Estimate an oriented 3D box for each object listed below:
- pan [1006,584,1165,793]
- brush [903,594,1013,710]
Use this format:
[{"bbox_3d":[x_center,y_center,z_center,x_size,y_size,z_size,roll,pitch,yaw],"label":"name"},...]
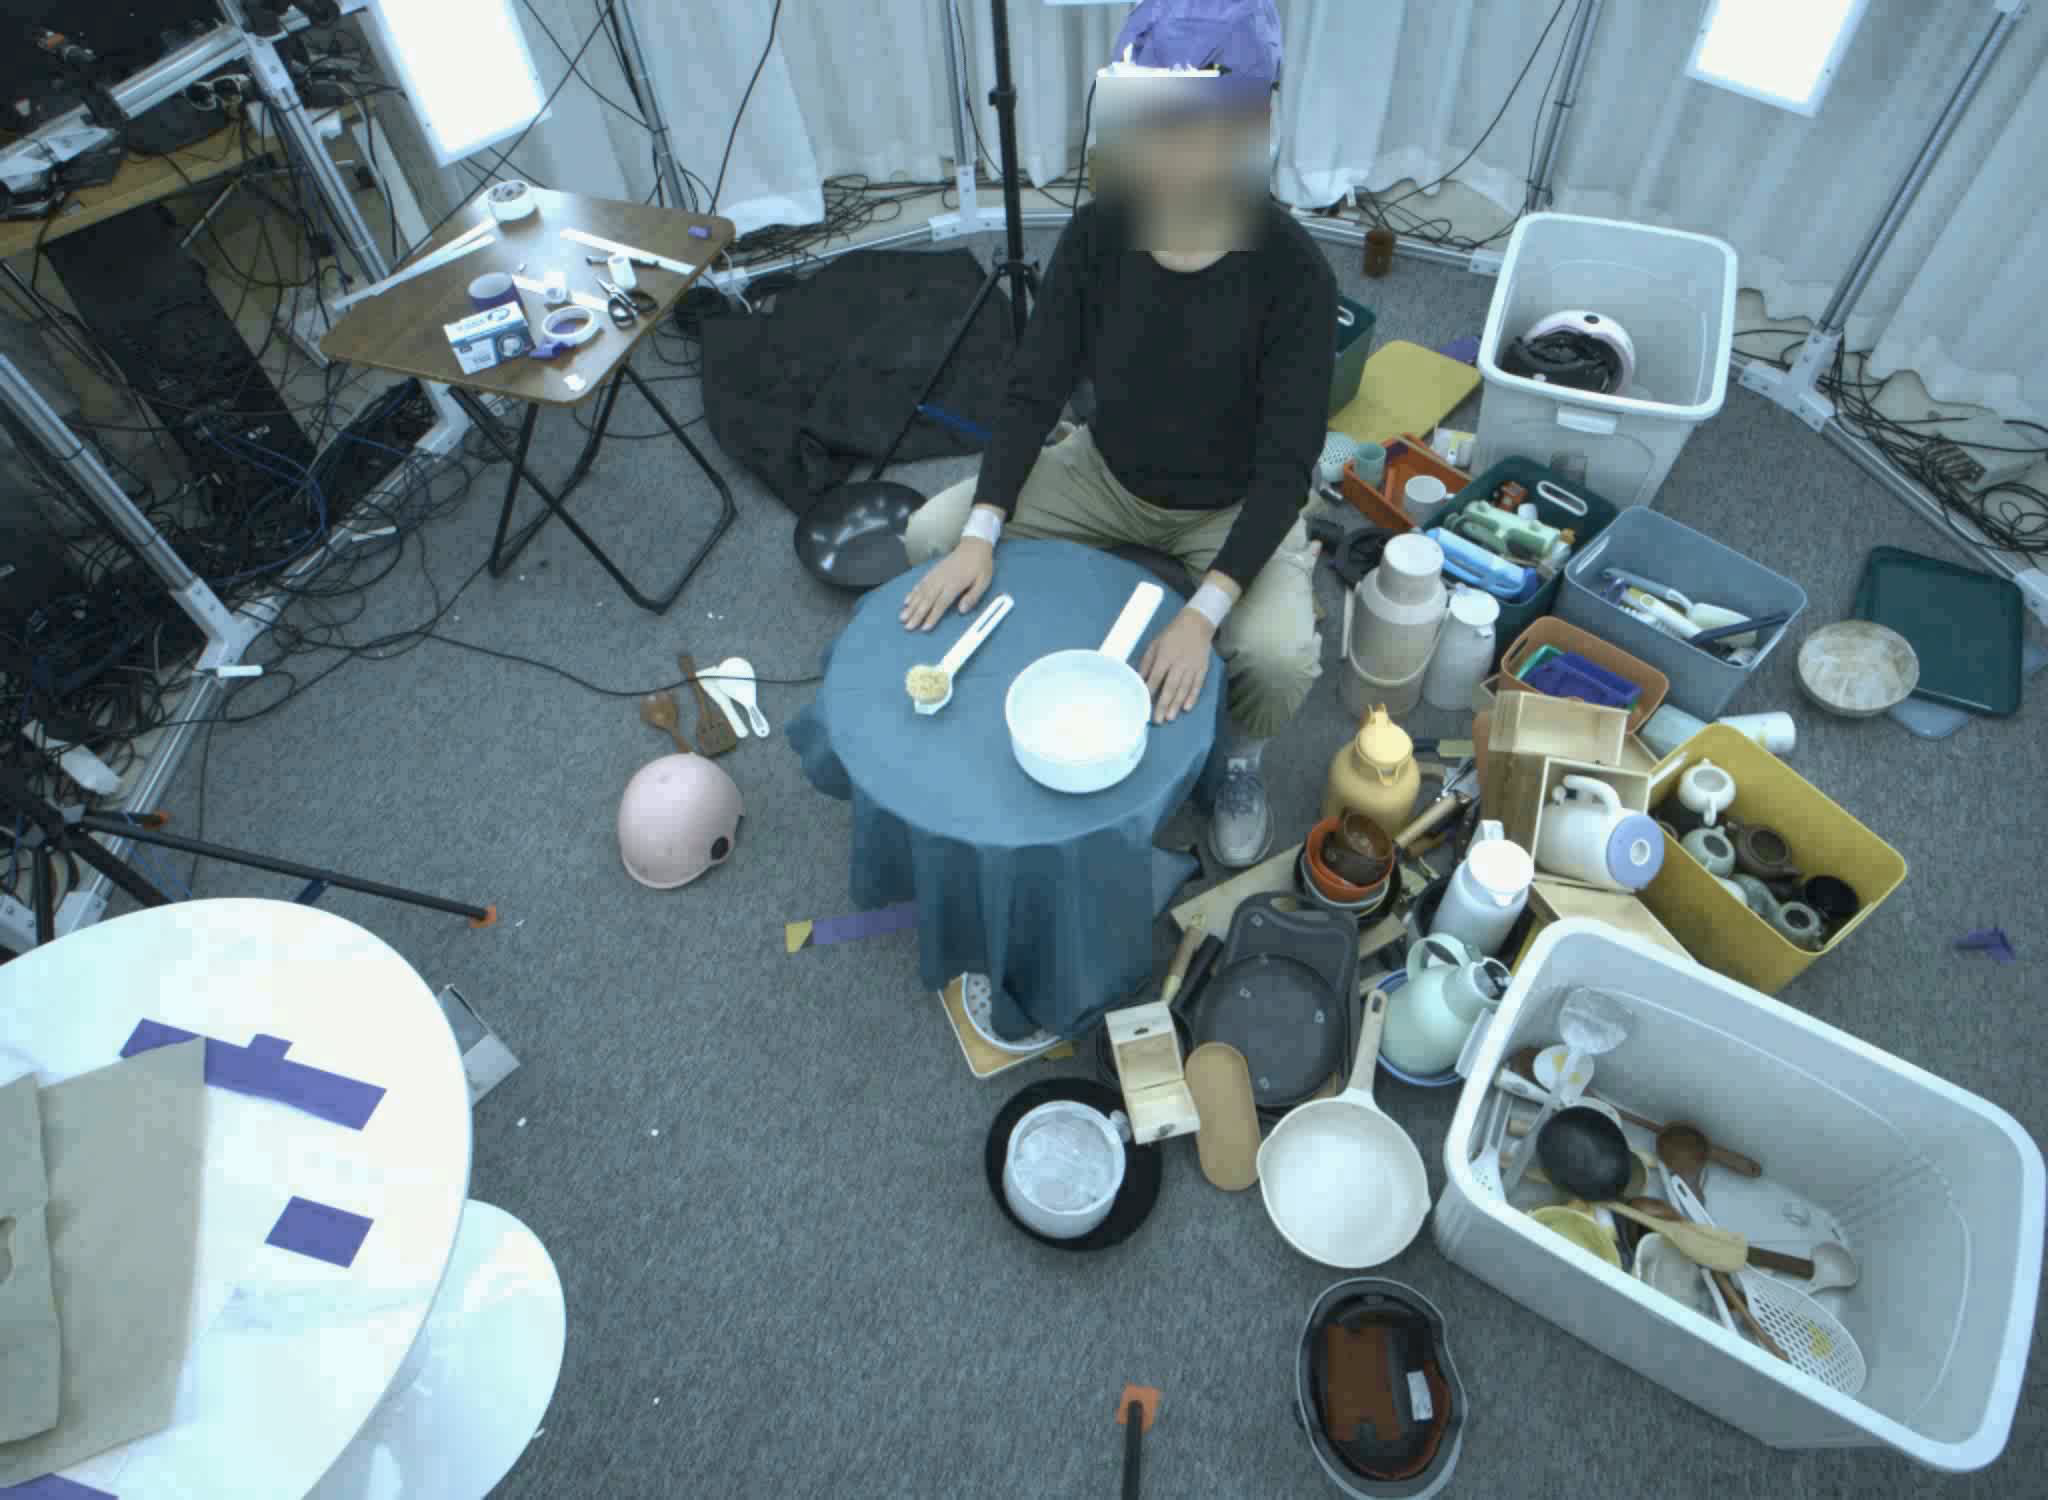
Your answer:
[{"bbox_3d":[0.113,-0.091,1.790,0.198,0.103,0.355,21,57,18],"label":"pan"},{"bbox_3d":[-0.095,-0.167,1.876,0.068,0.056,0.267,27,59,15],"label":"brush"}]
